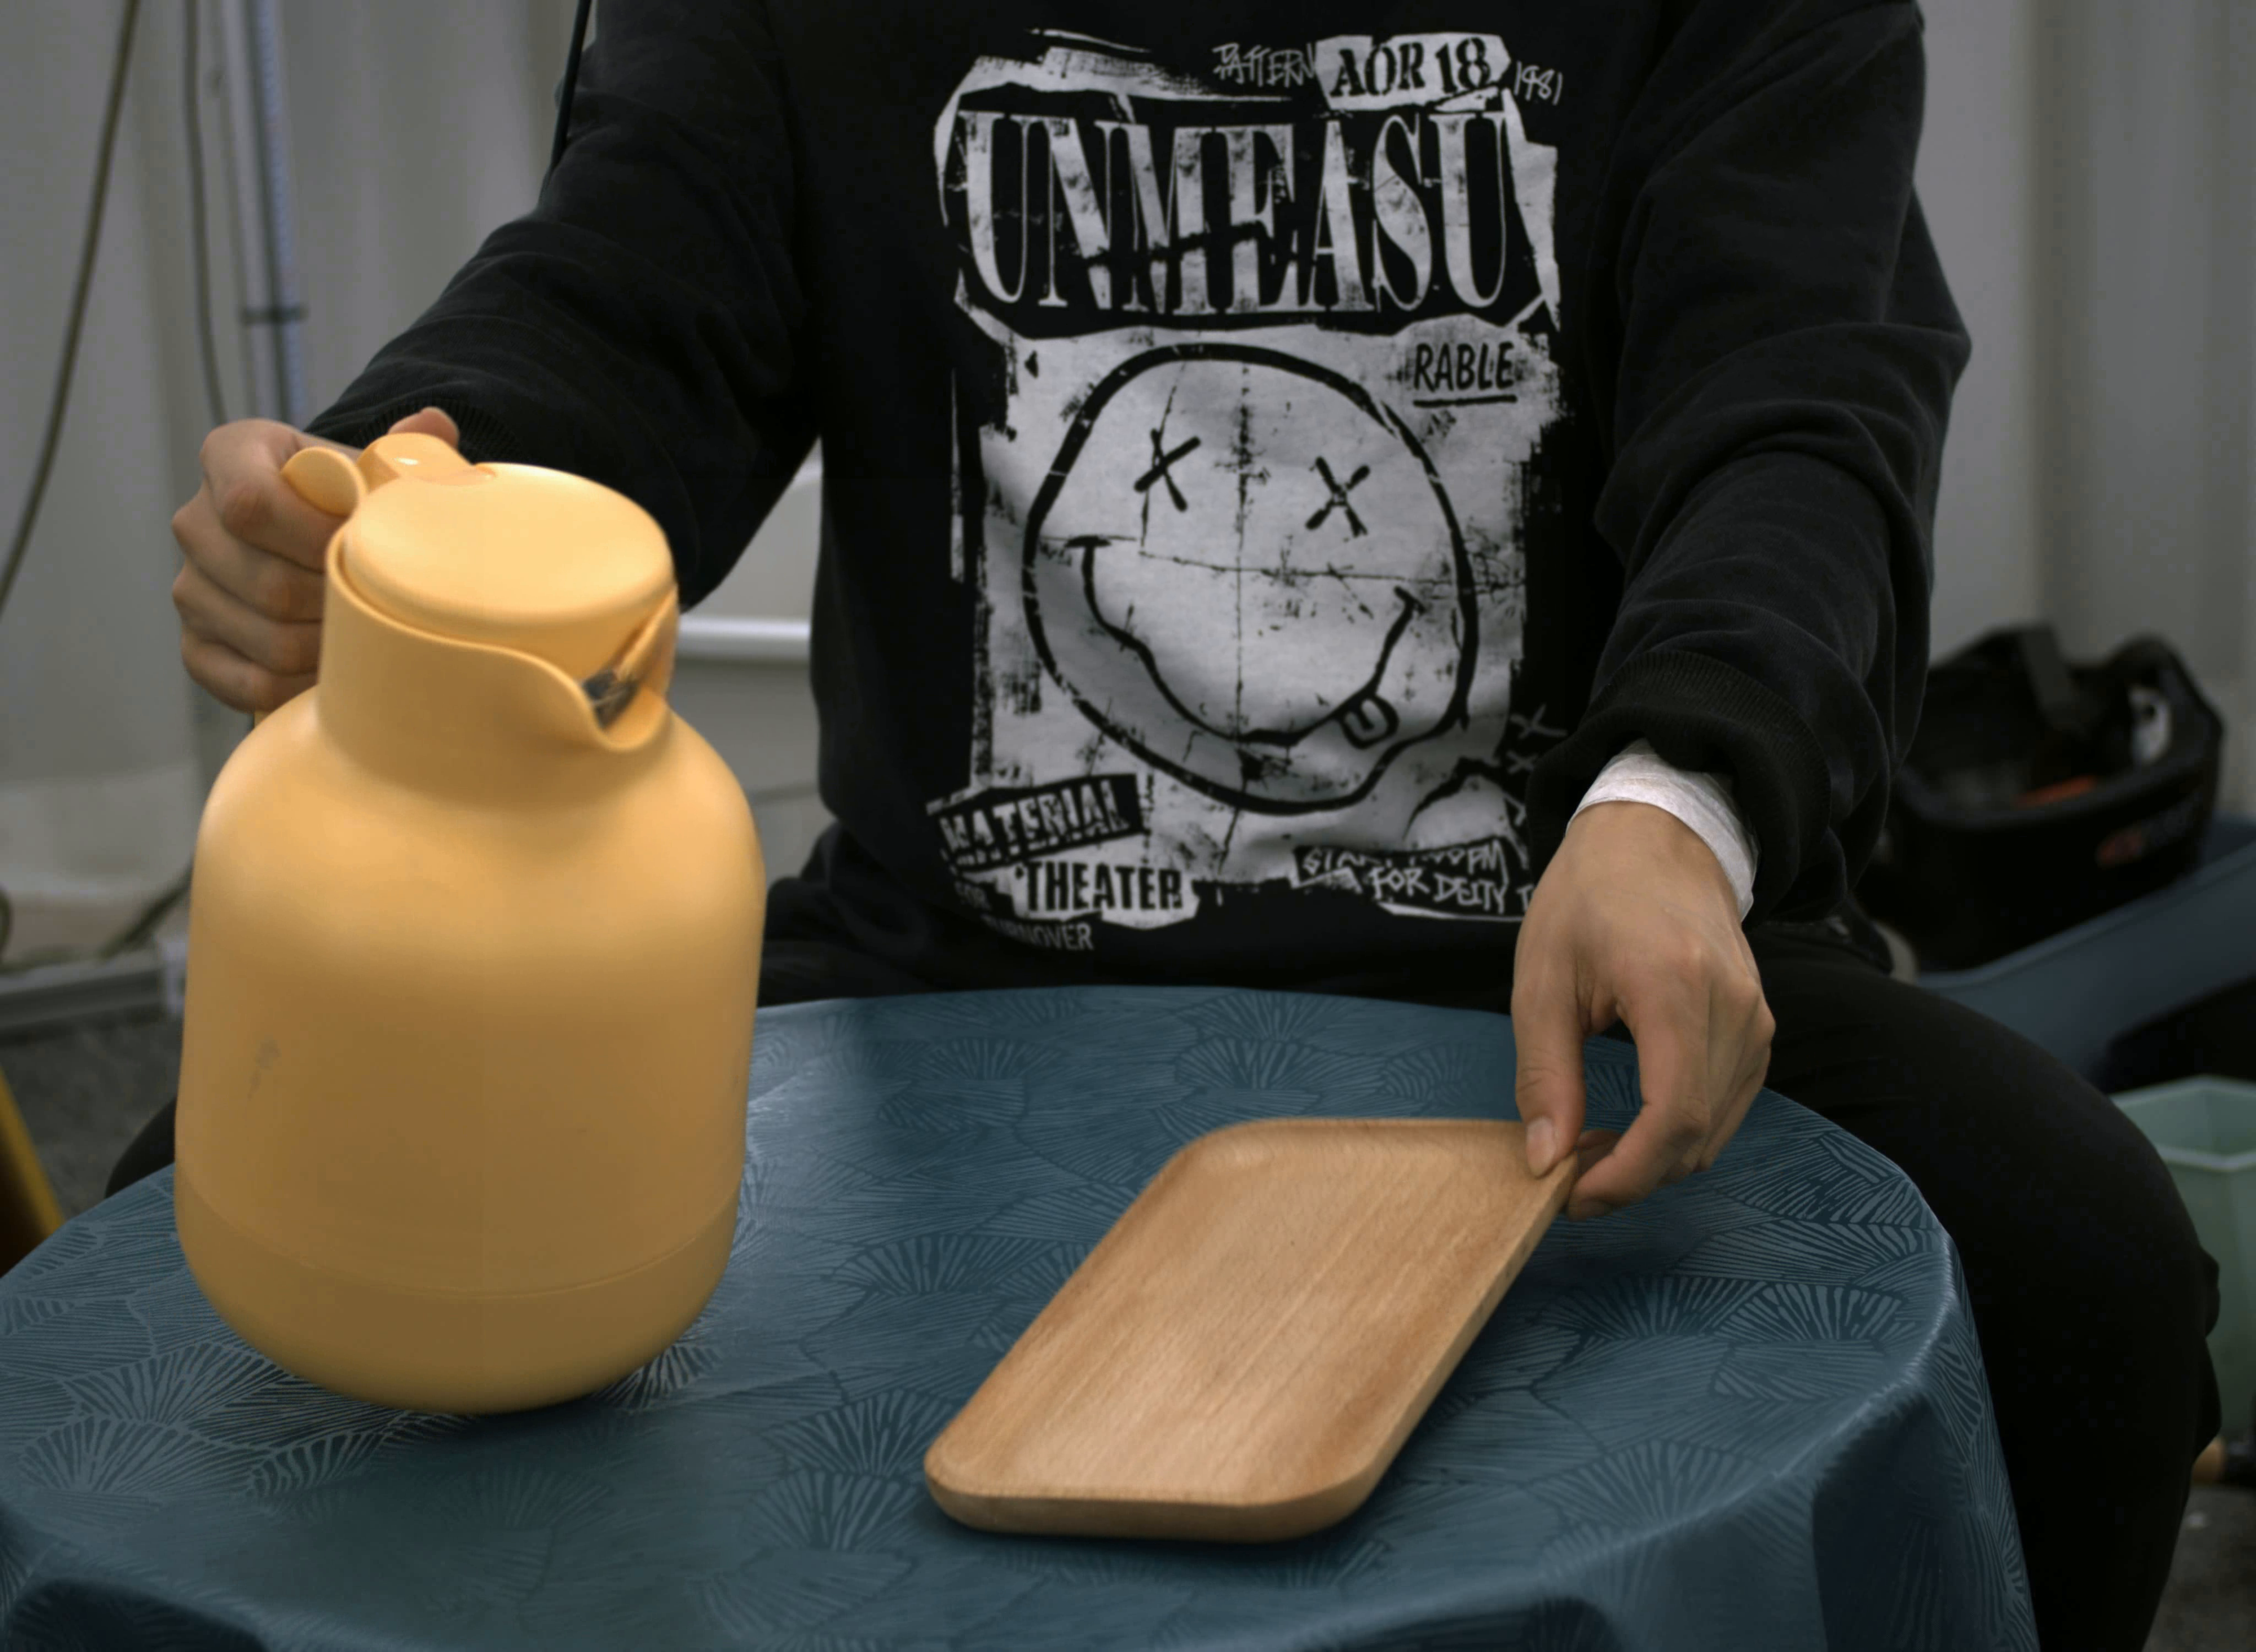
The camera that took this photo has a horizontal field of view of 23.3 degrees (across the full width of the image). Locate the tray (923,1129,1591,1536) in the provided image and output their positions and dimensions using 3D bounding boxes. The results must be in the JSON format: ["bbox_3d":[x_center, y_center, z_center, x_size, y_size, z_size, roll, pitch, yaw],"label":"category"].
[{"bbox_3d":[0.041,0.139,1.534,0.130,0.023,0.252,1,19,23],"label":"tray"}]

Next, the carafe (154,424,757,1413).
[{"bbox_3d":[-0.194,0.016,1.553,0.162,0.258,0.205,-7,33,-30],"label":"carafe"}]
